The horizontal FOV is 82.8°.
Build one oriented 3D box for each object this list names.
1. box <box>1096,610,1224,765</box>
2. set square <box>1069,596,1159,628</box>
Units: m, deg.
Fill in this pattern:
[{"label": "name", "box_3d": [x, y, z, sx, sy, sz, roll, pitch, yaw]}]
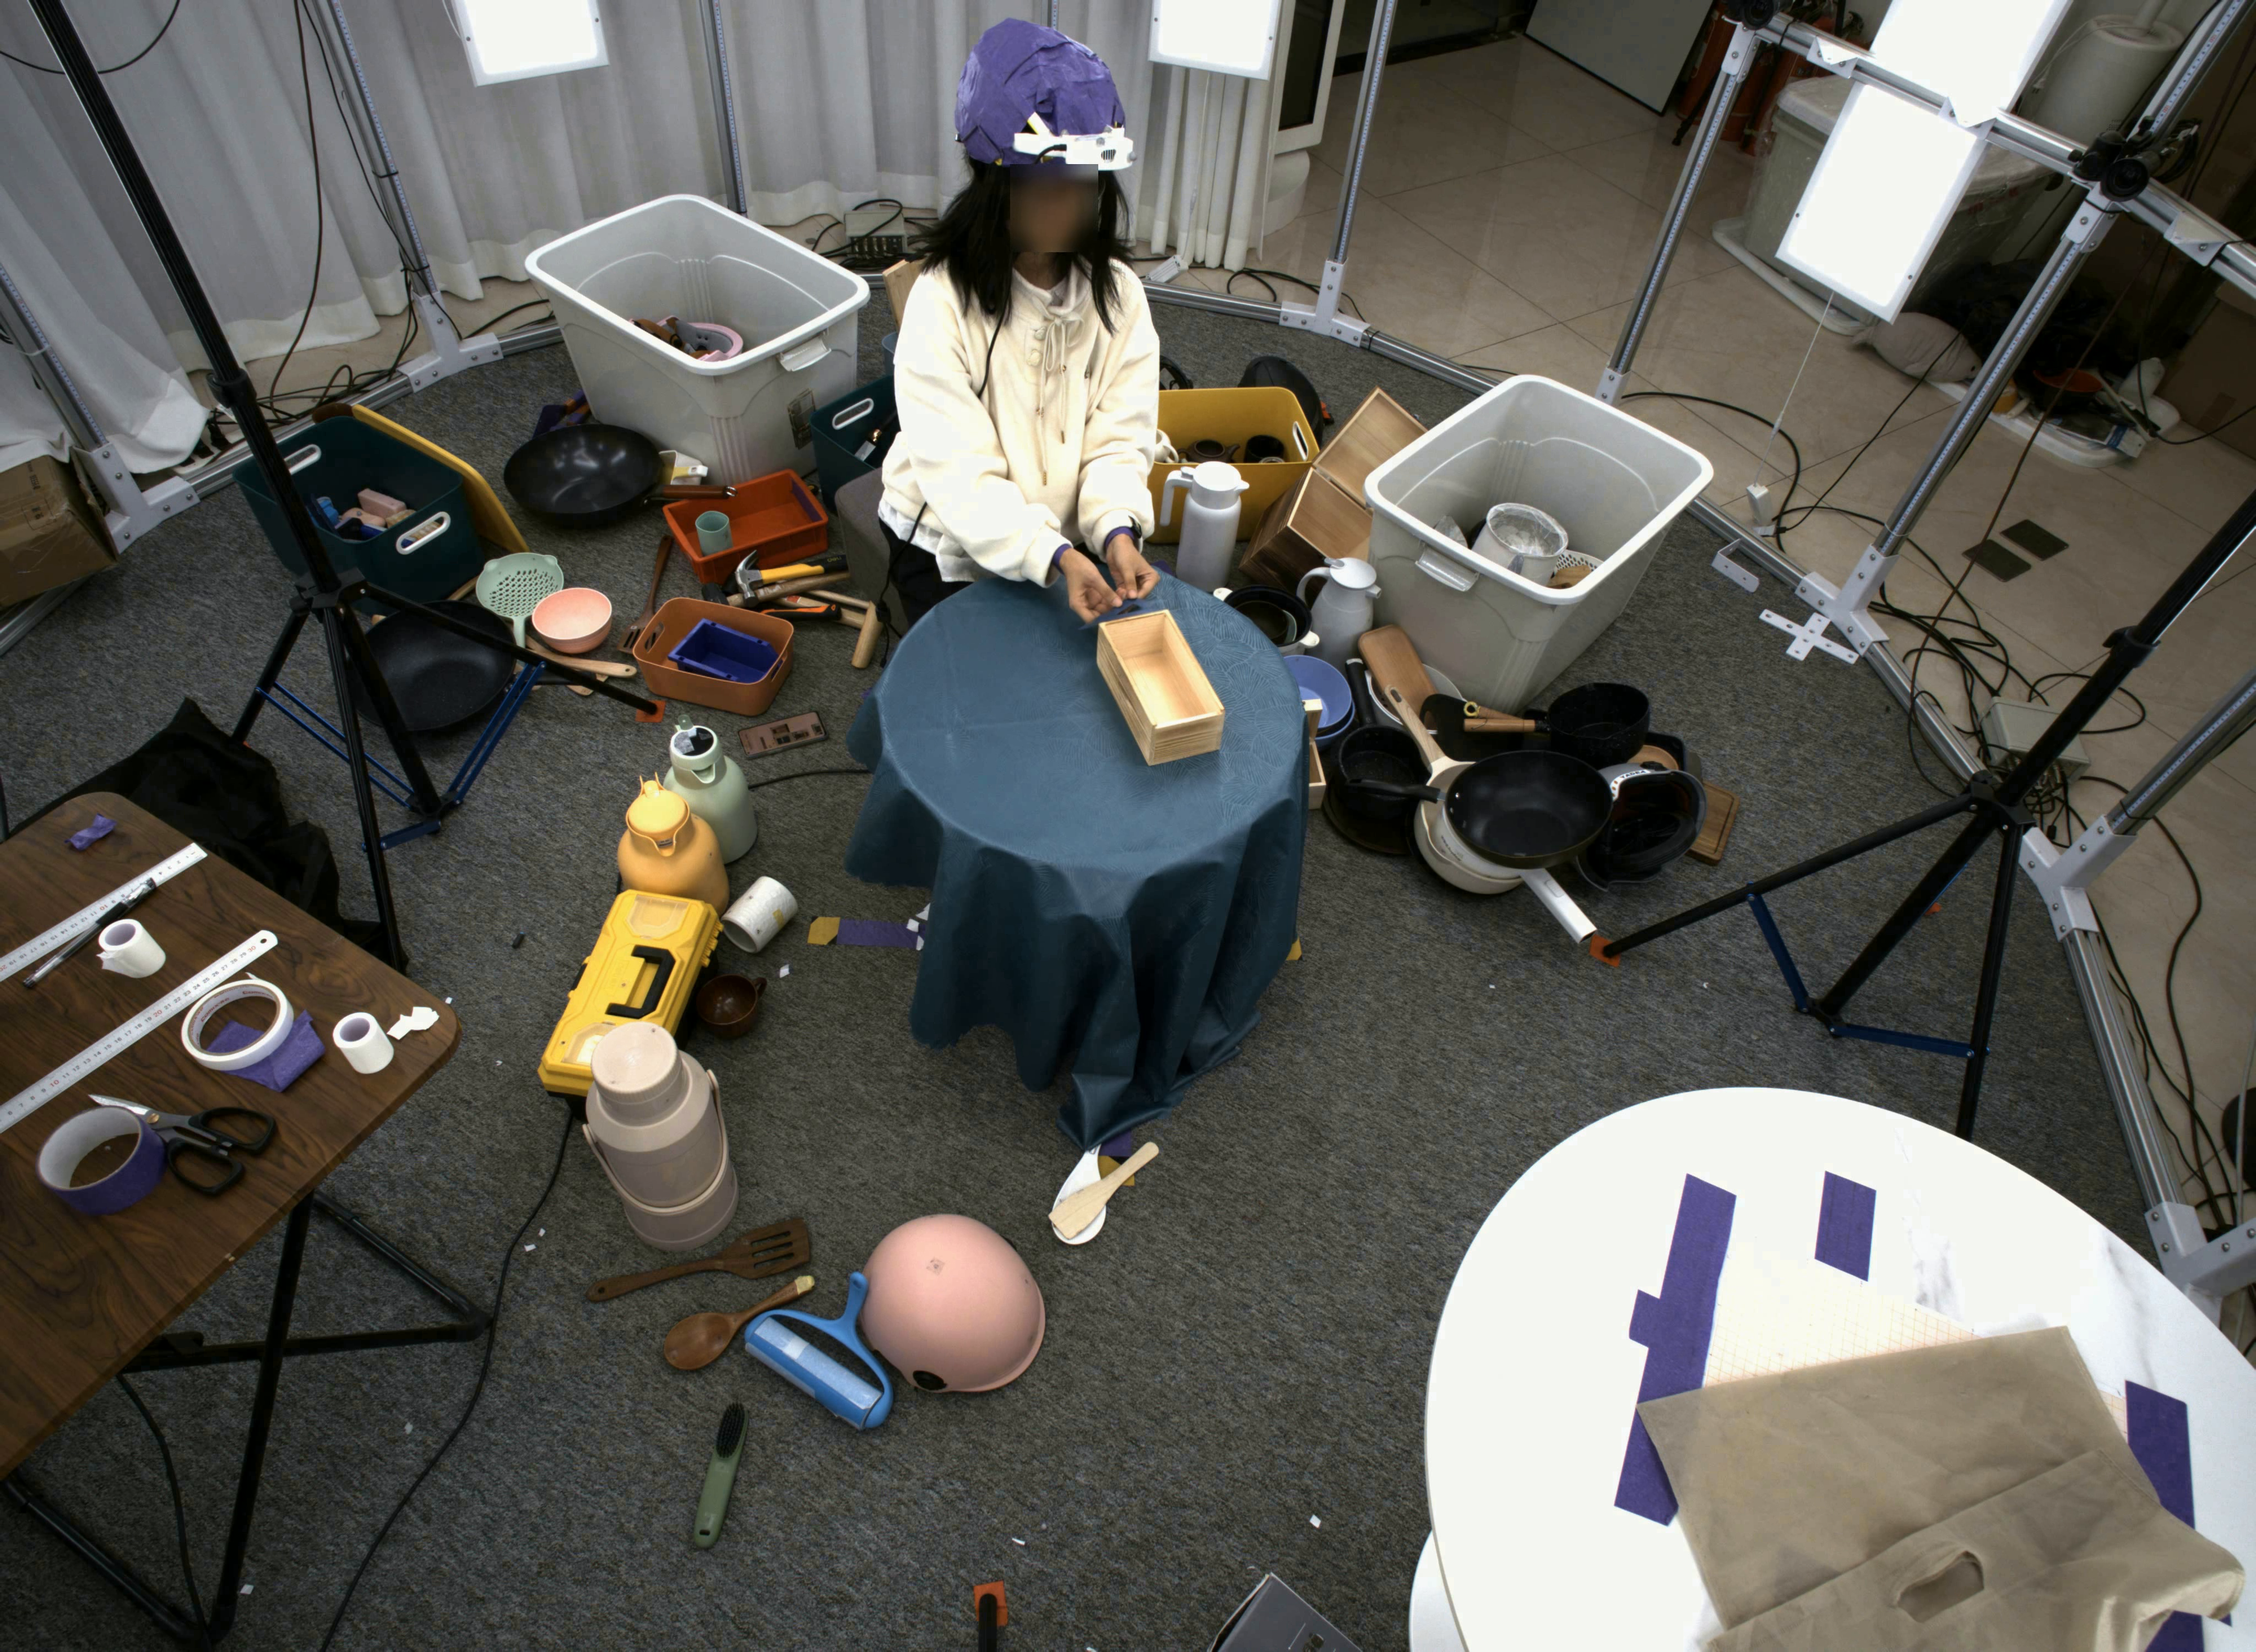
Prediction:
[{"label": "box", "box_3d": [0.041, -0.197, 1.792, 0.107, 0.078, 0.216, -13, 52, -16]}, {"label": "set square", "box_3d": [-0.026, -0.312, 1.853, 0.132, 0.006, 0.062, -12, 40, -11]}]
